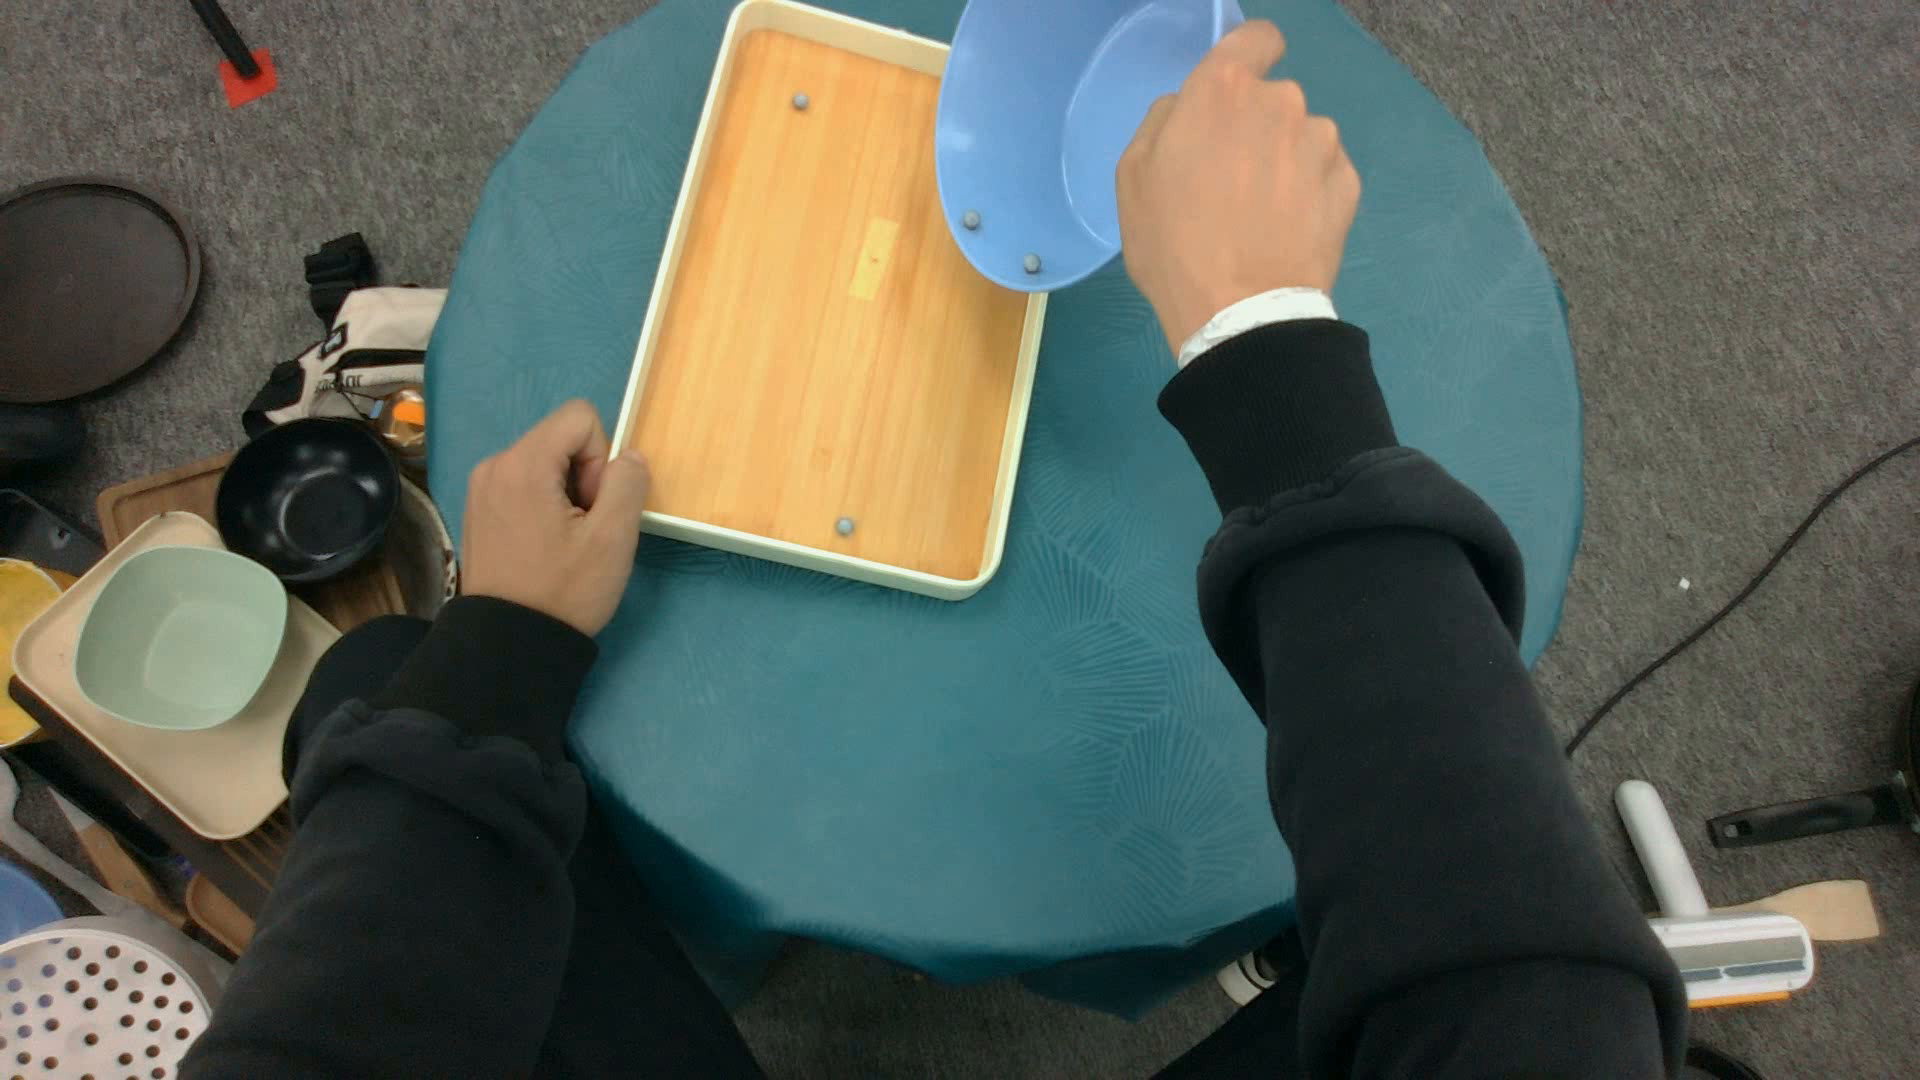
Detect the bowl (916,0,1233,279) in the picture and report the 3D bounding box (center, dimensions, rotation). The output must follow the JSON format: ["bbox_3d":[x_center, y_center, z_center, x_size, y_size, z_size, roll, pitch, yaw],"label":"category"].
[{"bbox_3d":[0.058,-0.202,0.626,0.070,0.175,0.176,3,65,-40],"label":"bowl"}]

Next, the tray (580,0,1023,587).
[{"bbox_3d":[-0.065,-0.135,0.702,0.191,0.027,0.301,13,69,-9],"label":"tray"}]
